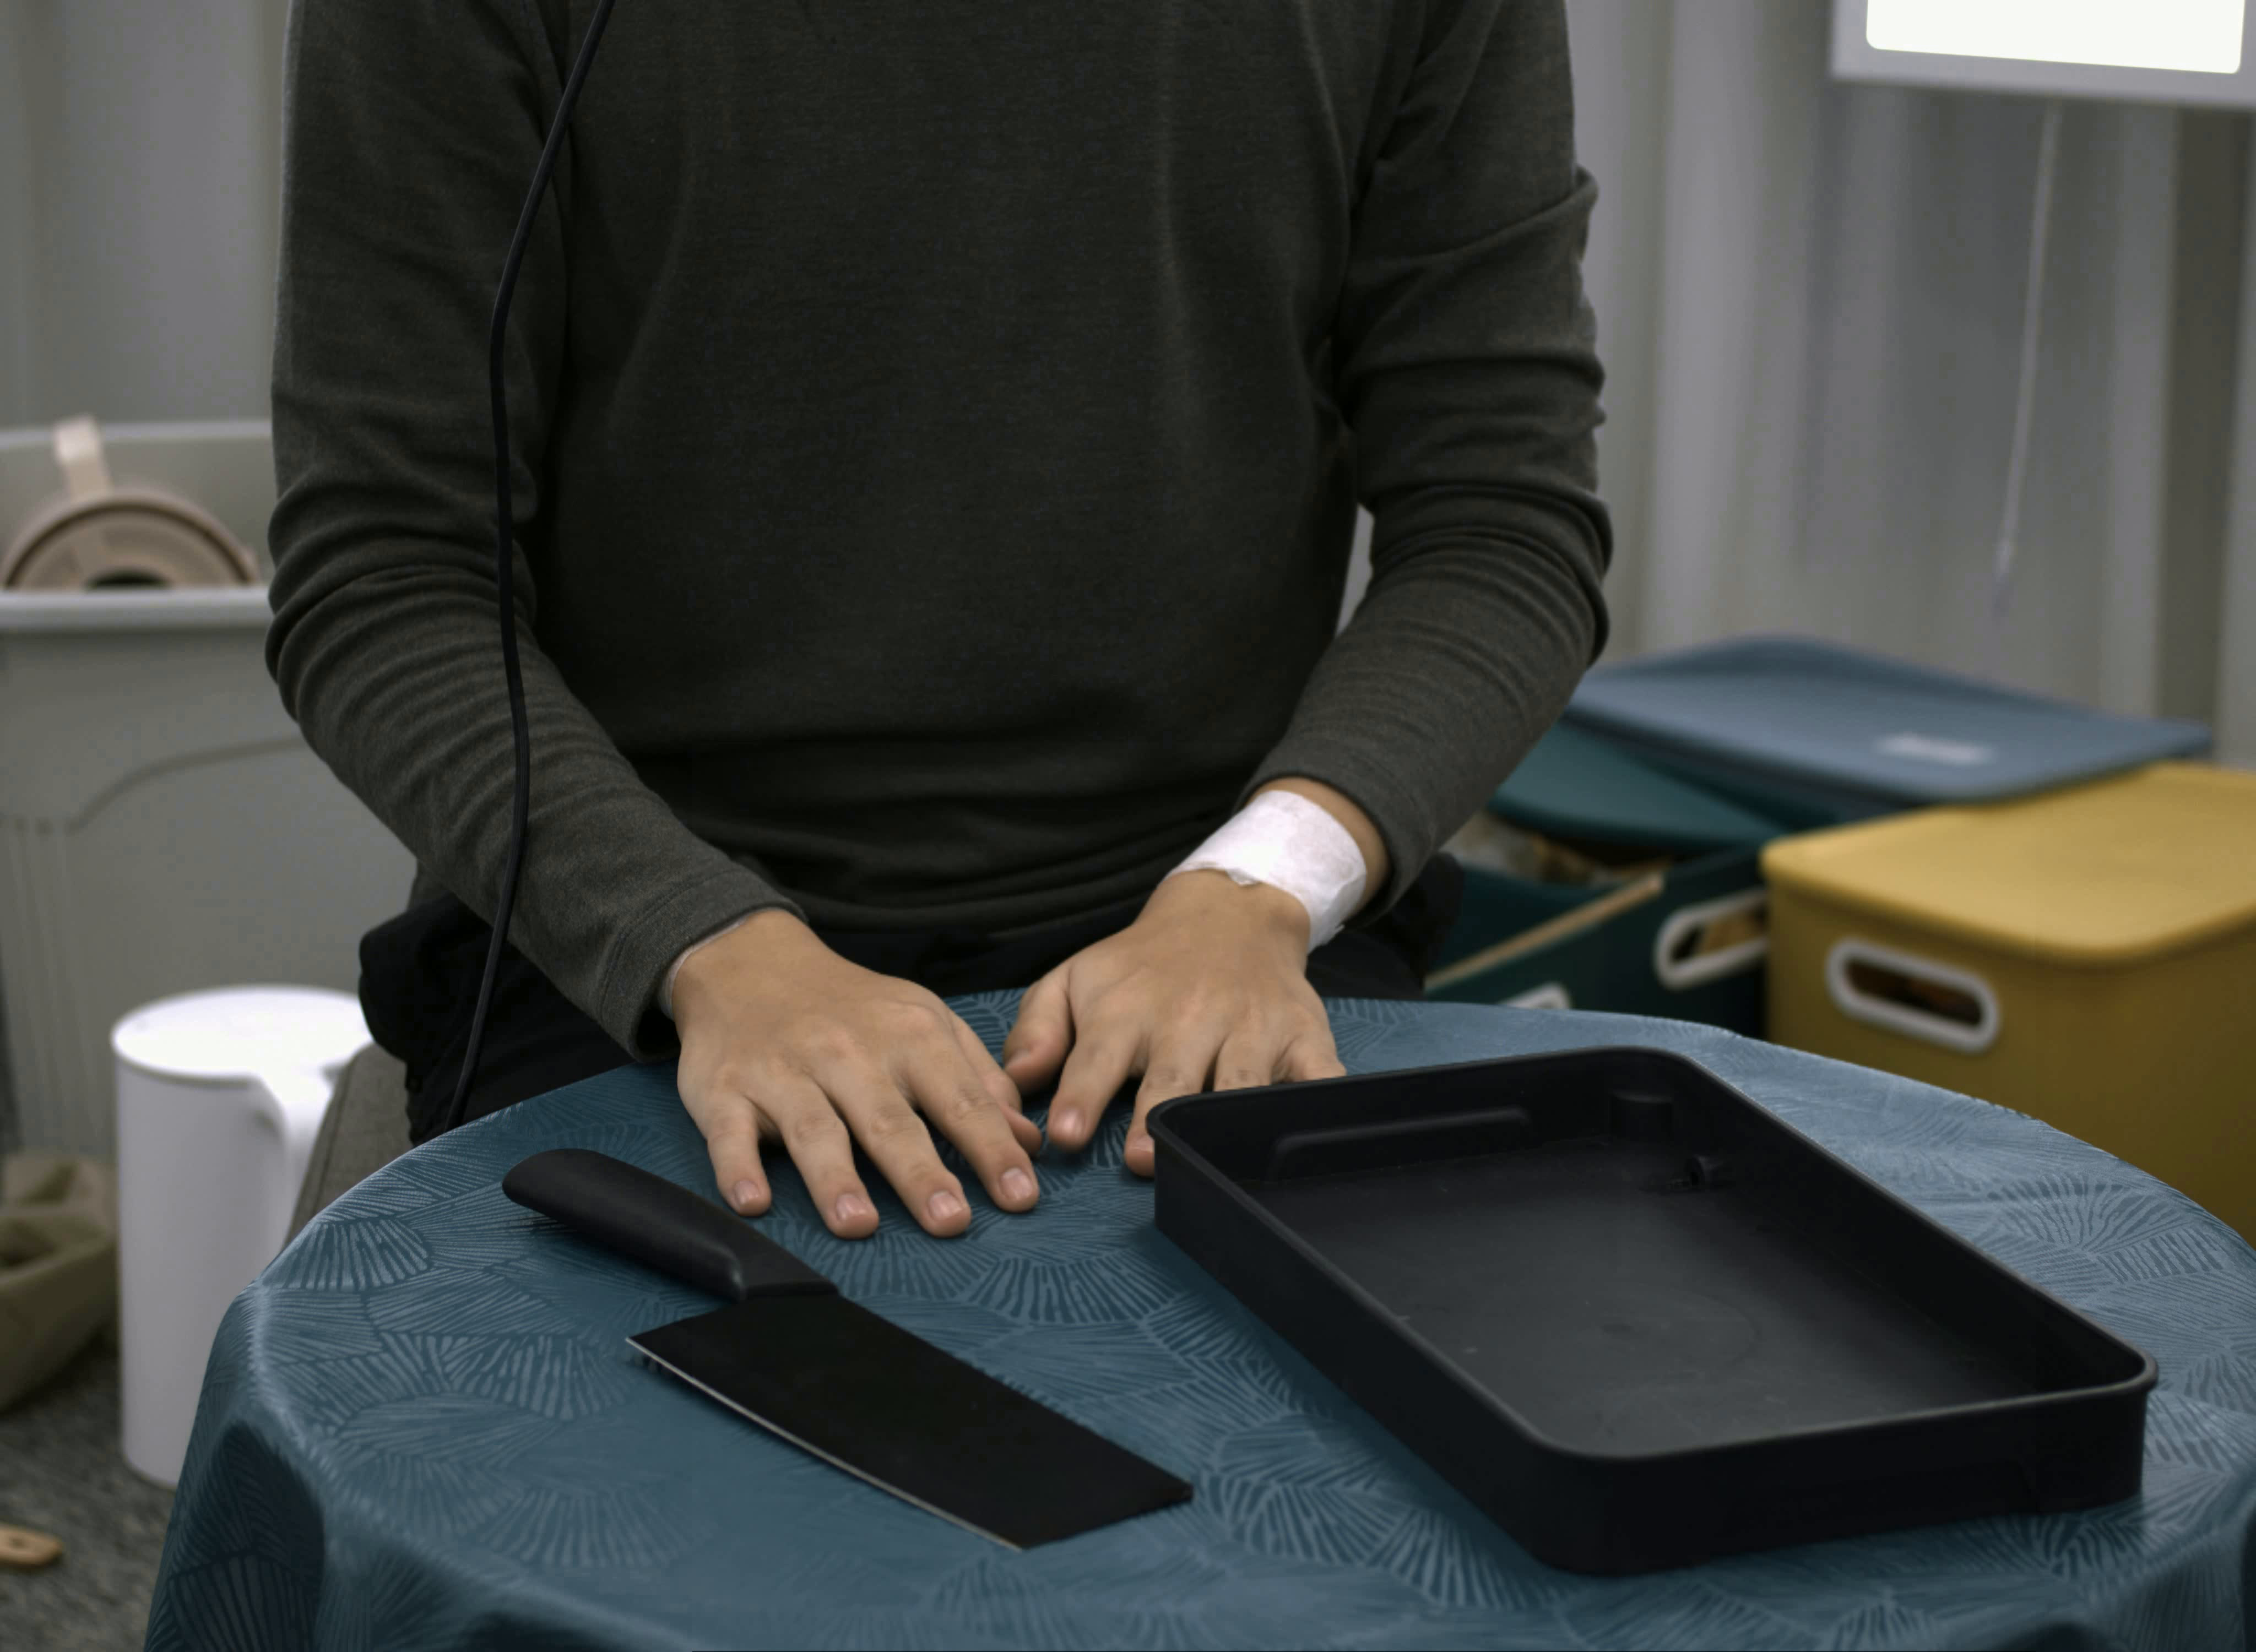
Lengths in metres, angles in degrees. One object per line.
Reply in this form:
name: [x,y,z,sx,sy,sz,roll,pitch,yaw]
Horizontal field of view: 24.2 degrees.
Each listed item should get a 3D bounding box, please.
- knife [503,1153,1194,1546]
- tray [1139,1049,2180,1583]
knife: [-0.094,0.145,1.480,0.081,0.021,0.298,-11,21,-32]
tray: [0.141,0.131,1.494,0.185,0.037,0.314,-6,16,-22]
